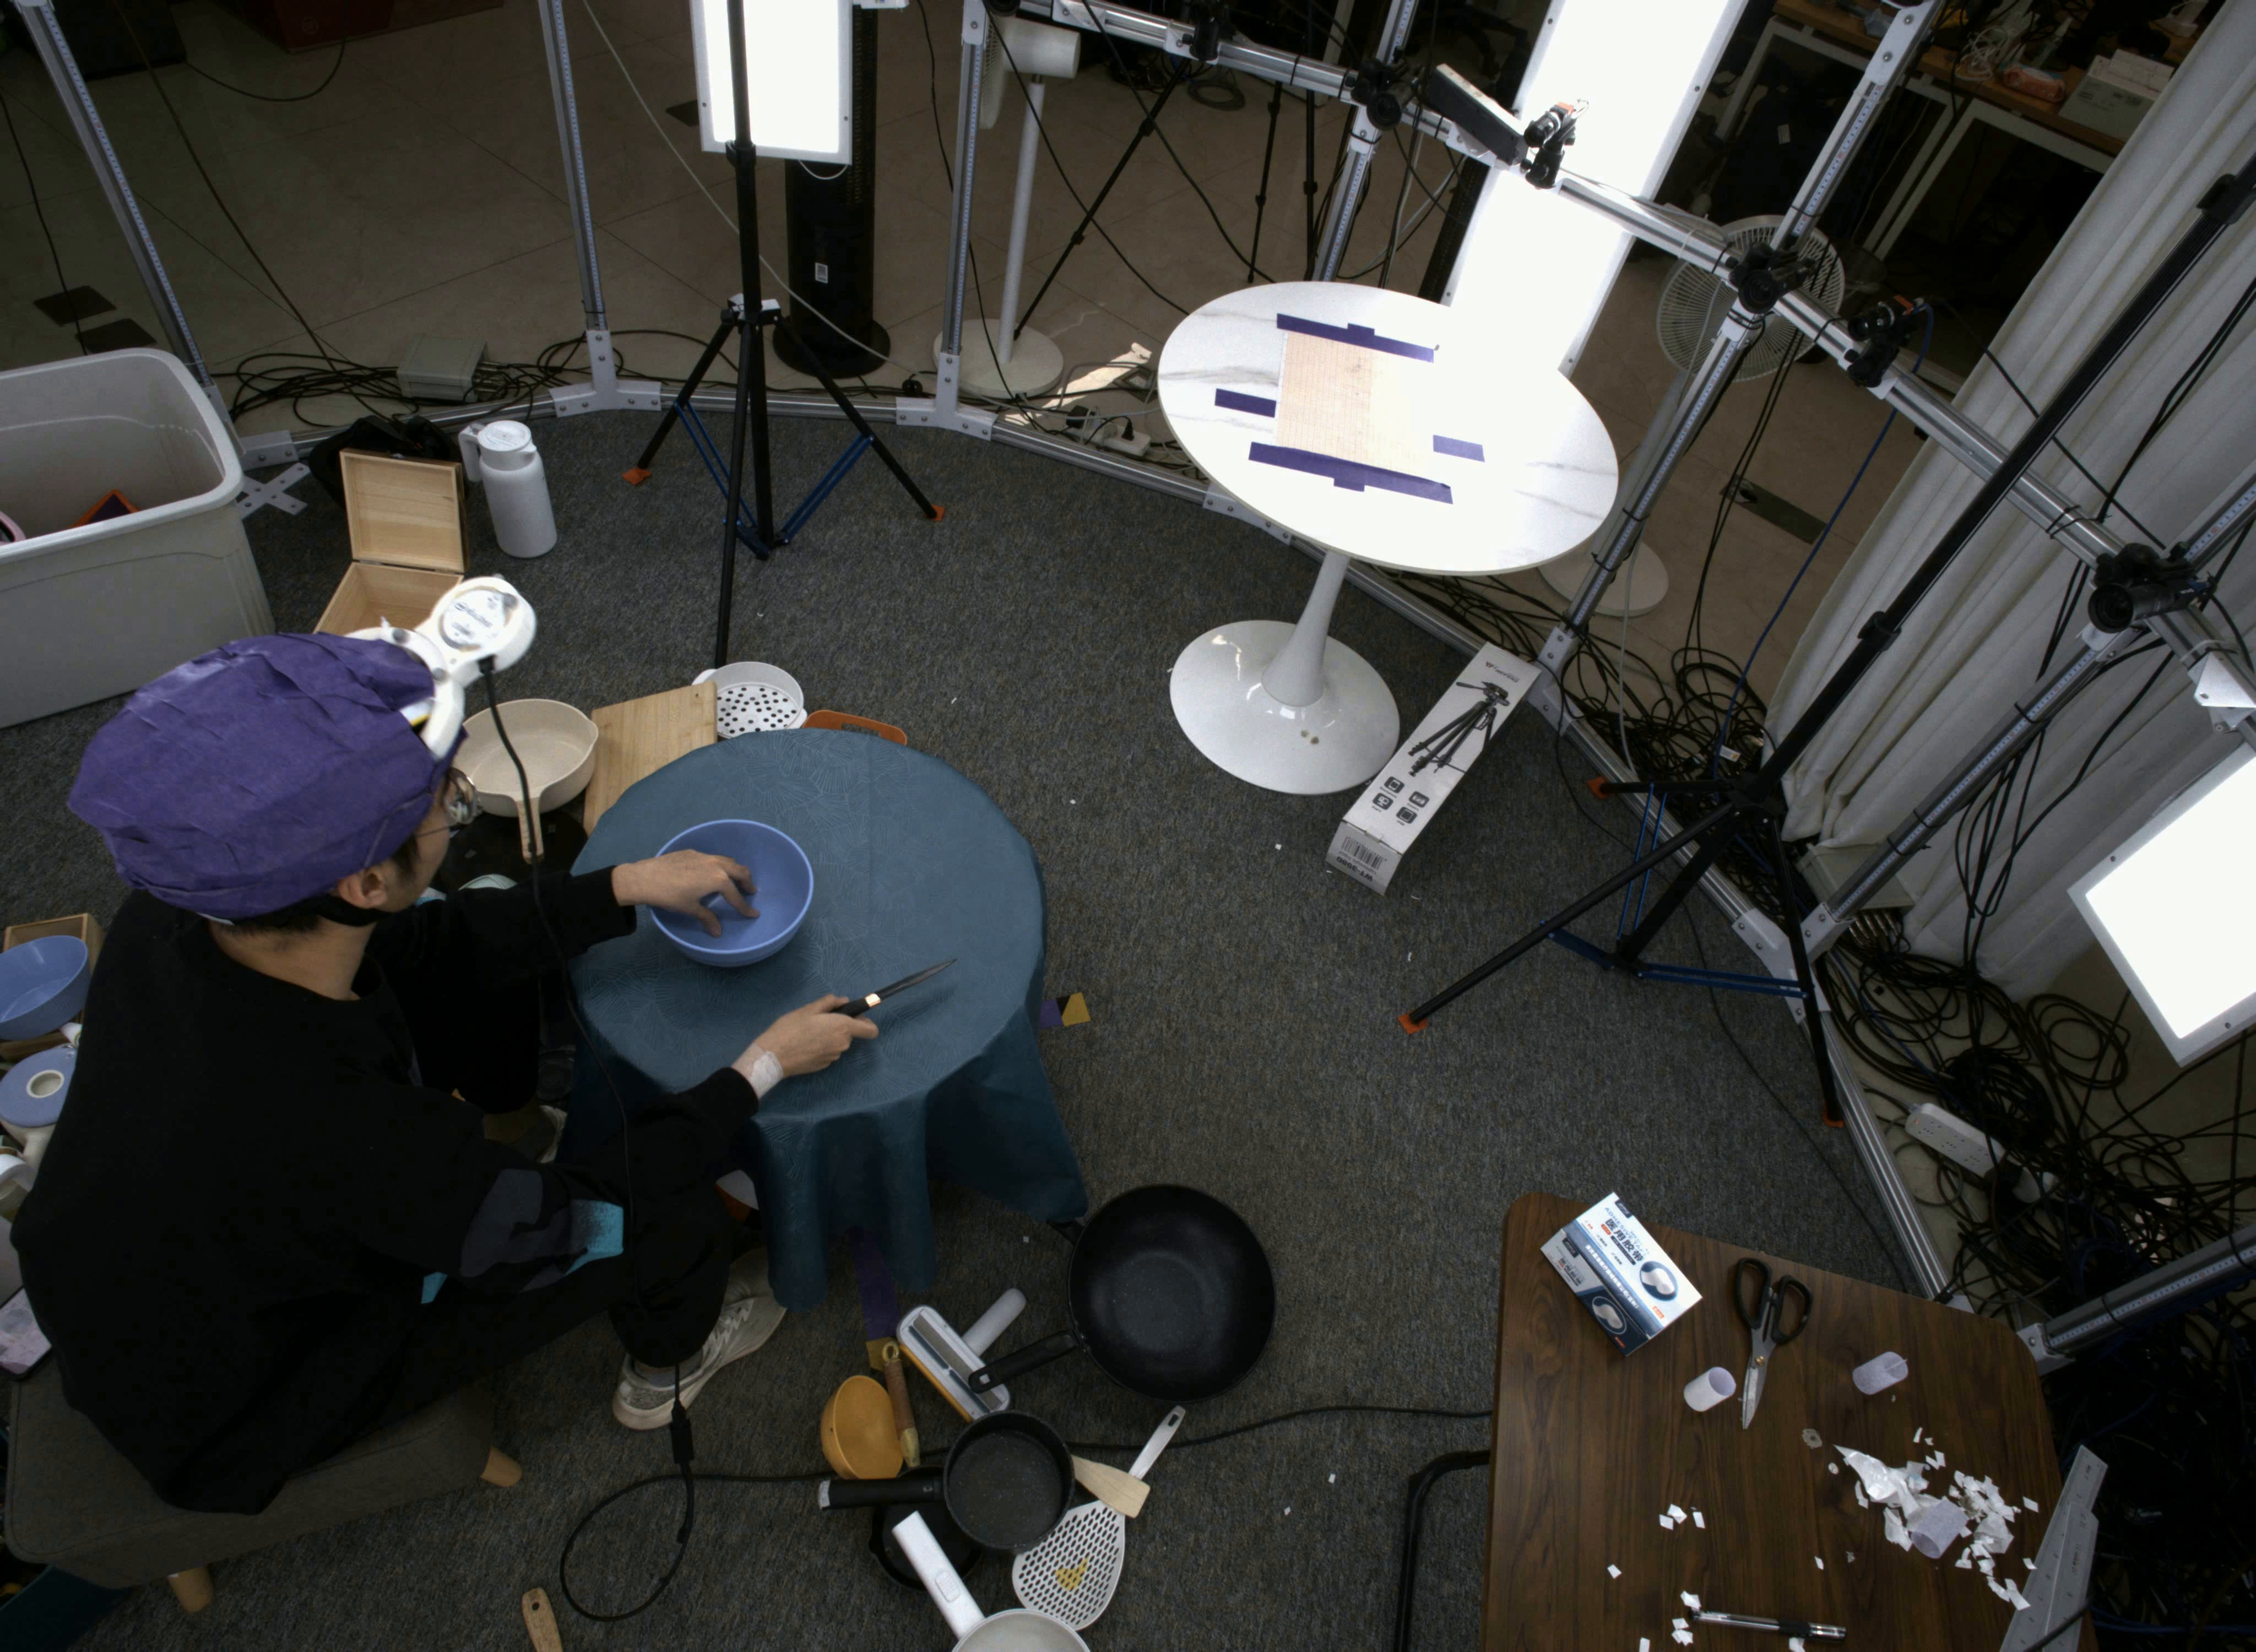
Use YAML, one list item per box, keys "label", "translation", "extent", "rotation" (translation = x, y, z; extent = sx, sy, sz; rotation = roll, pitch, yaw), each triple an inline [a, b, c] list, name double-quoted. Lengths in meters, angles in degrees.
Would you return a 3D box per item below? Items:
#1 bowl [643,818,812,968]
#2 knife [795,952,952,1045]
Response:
- label: "bowl"
  translation: [-0.482, 0.095, 1.562]
  extent: [0.196, 0.097, 0.193]
  rotation: [9, 49, -9]
- label: "knife"
  translation: [-0.299, 0.201, 1.550]
  extent: [0.226, 0.018, 0.025]
  rotation: [-27, 35, -33]
